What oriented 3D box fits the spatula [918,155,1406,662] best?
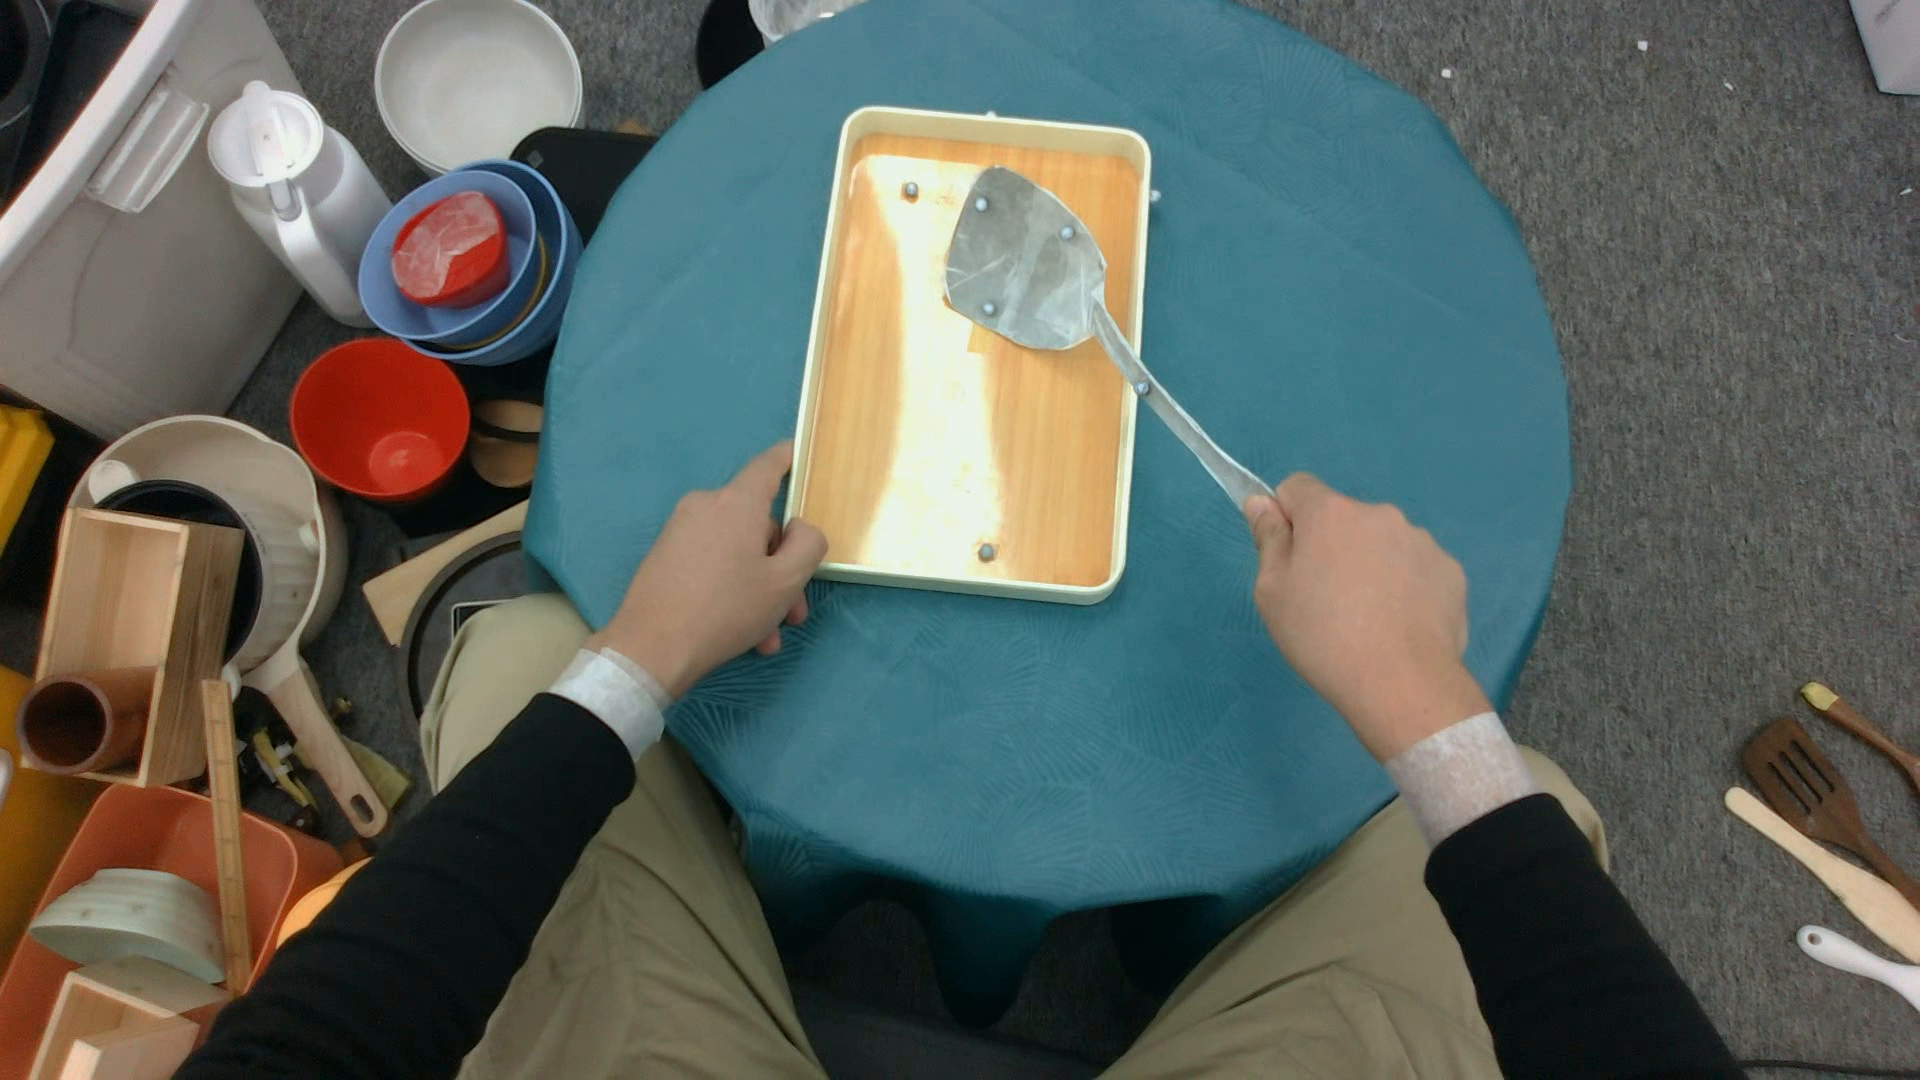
[{"bbox_3d":[0.098,-0.070,0.722,0.045,0.098,0.365,-15,53,-37],"label":"spatula"}]

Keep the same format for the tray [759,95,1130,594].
[{"bbox_3d":[-0.003,-0.121,0.805,0.191,0.027,0.301,6,71,1],"label":"tray"}]
